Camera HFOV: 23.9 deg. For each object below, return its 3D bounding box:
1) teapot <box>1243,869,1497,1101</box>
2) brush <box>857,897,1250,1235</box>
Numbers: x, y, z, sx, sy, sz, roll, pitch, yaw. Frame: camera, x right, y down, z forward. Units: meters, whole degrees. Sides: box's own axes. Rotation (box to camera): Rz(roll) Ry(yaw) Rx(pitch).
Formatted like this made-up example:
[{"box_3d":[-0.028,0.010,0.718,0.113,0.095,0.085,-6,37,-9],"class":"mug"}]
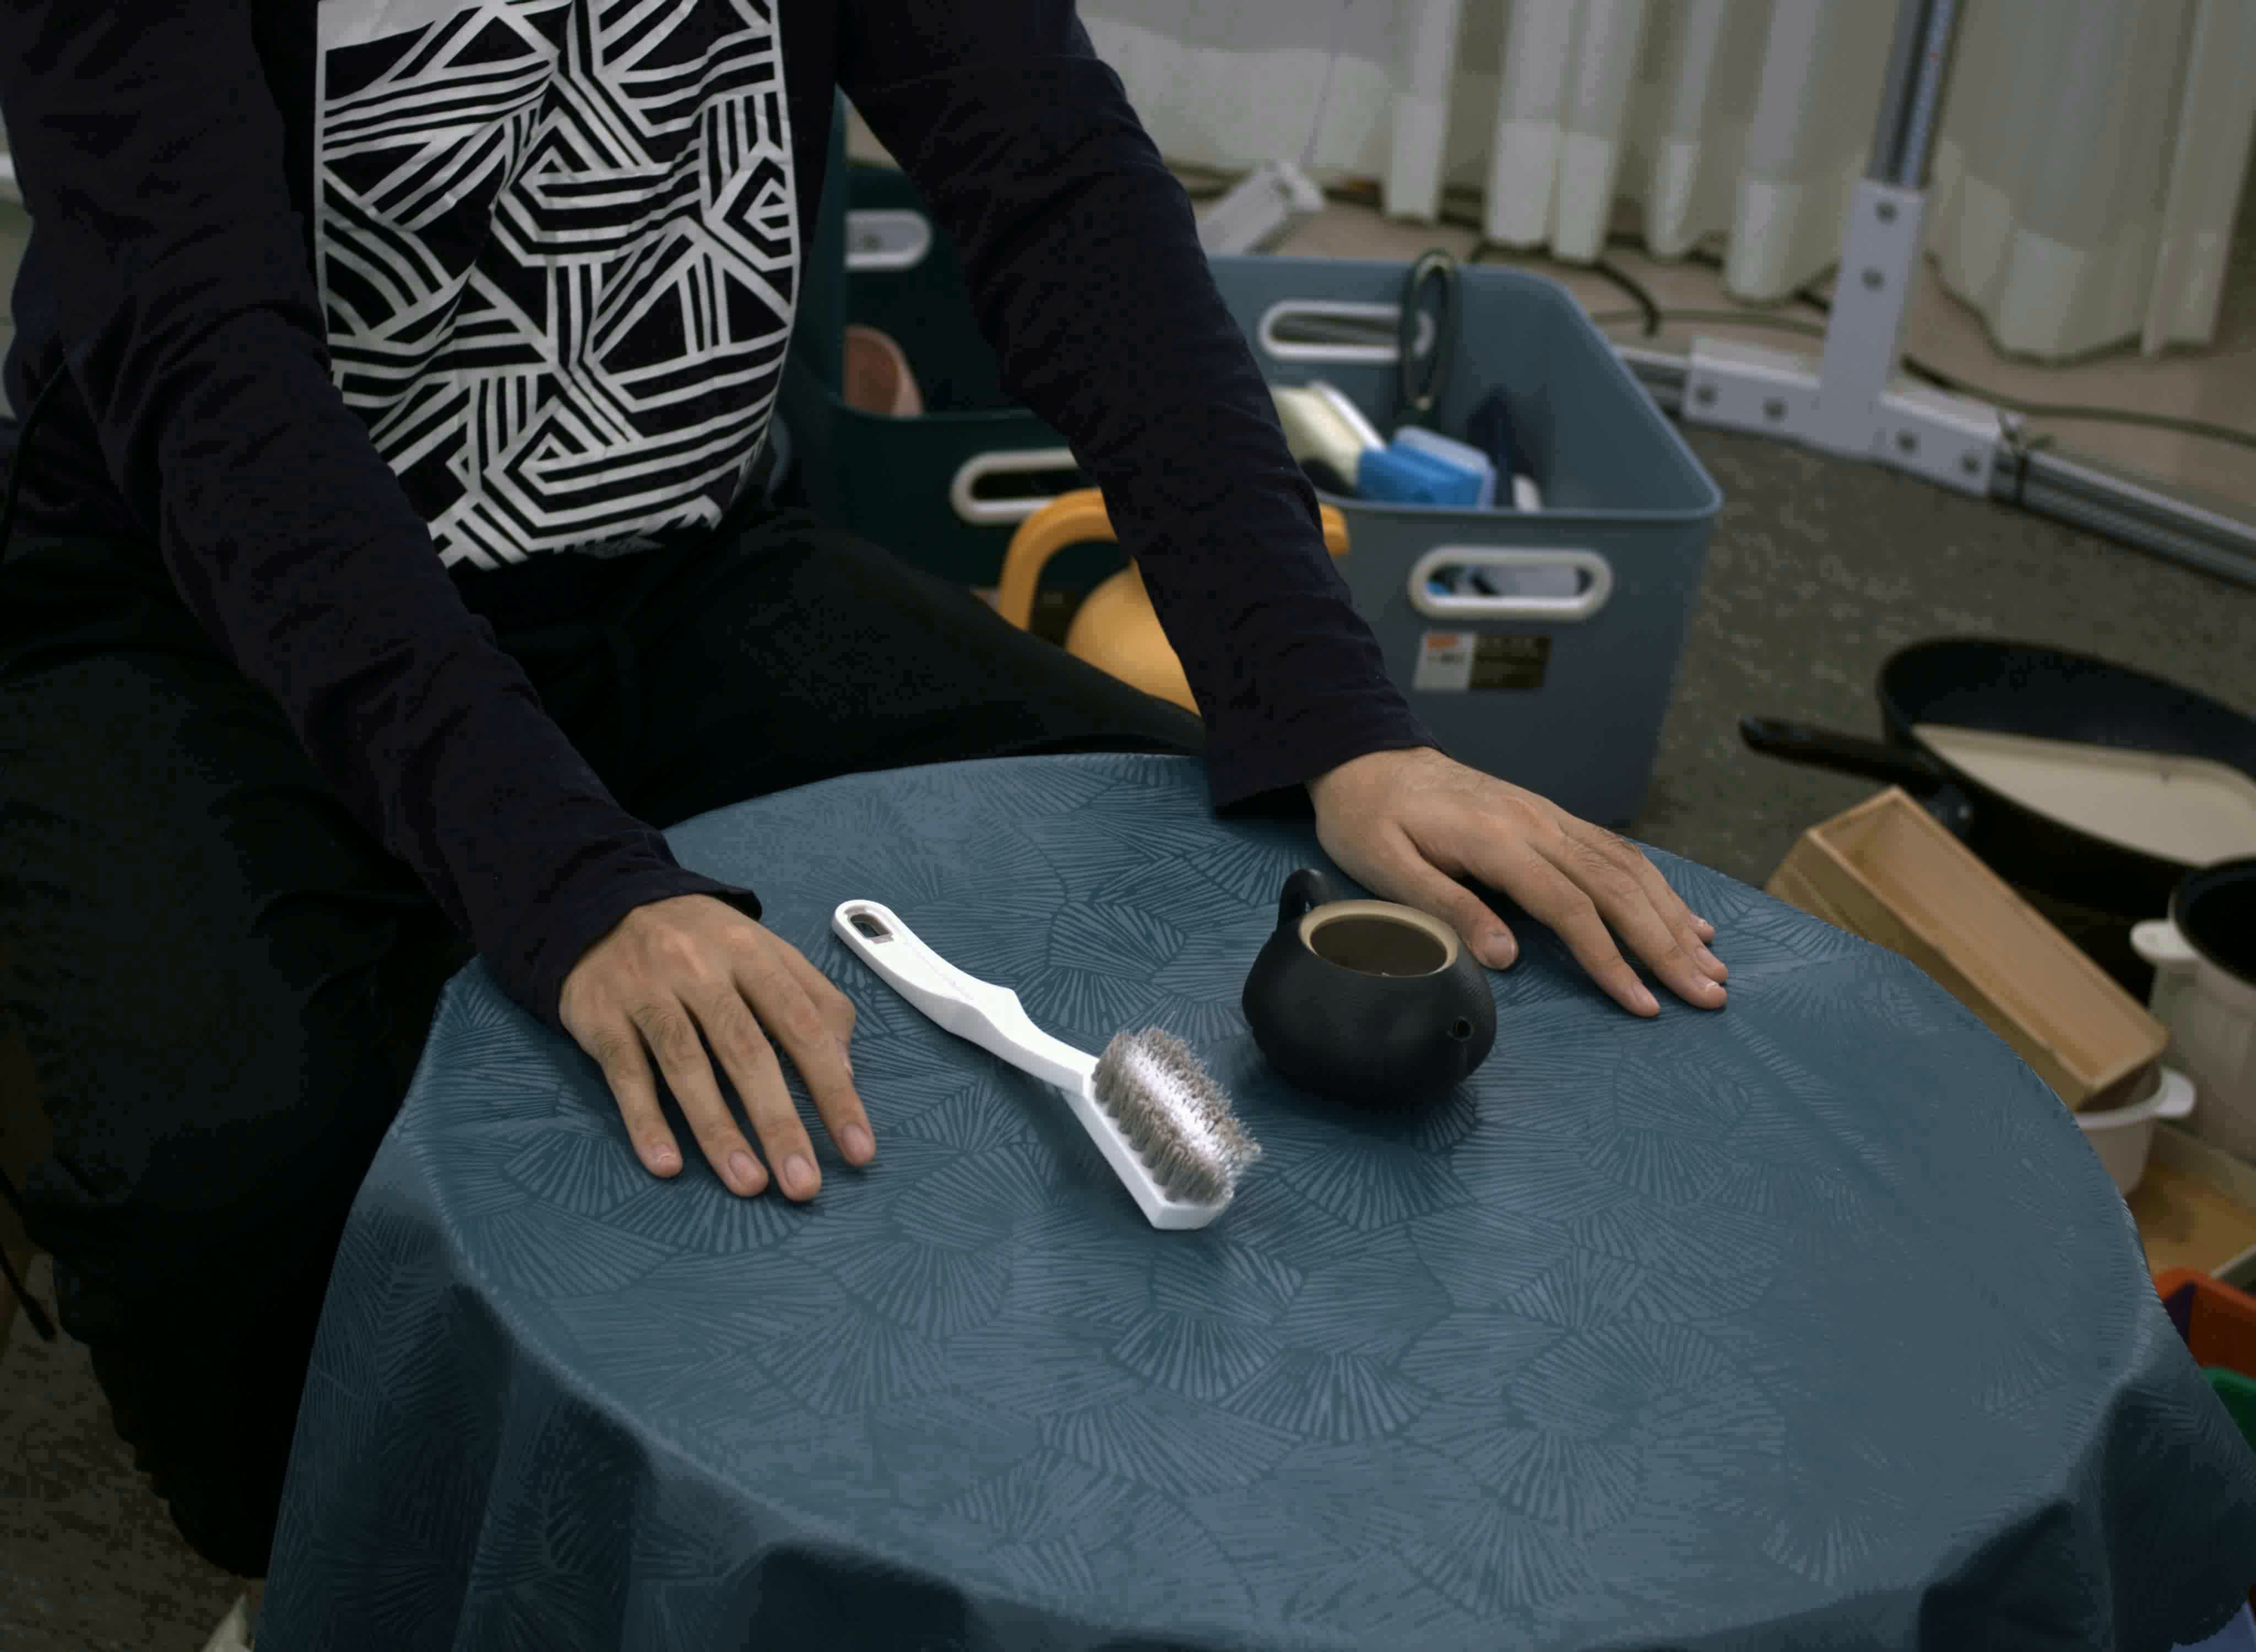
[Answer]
[{"box_3d":[0.086,0.062,1.888,0.090,0.053,0.134,-4,28,-26],"class":"teapot"},{"box_3d":[-0.031,0.066,1.860,0.034,0.050,0.246,-13,33,-27],"class":"brush"}]
